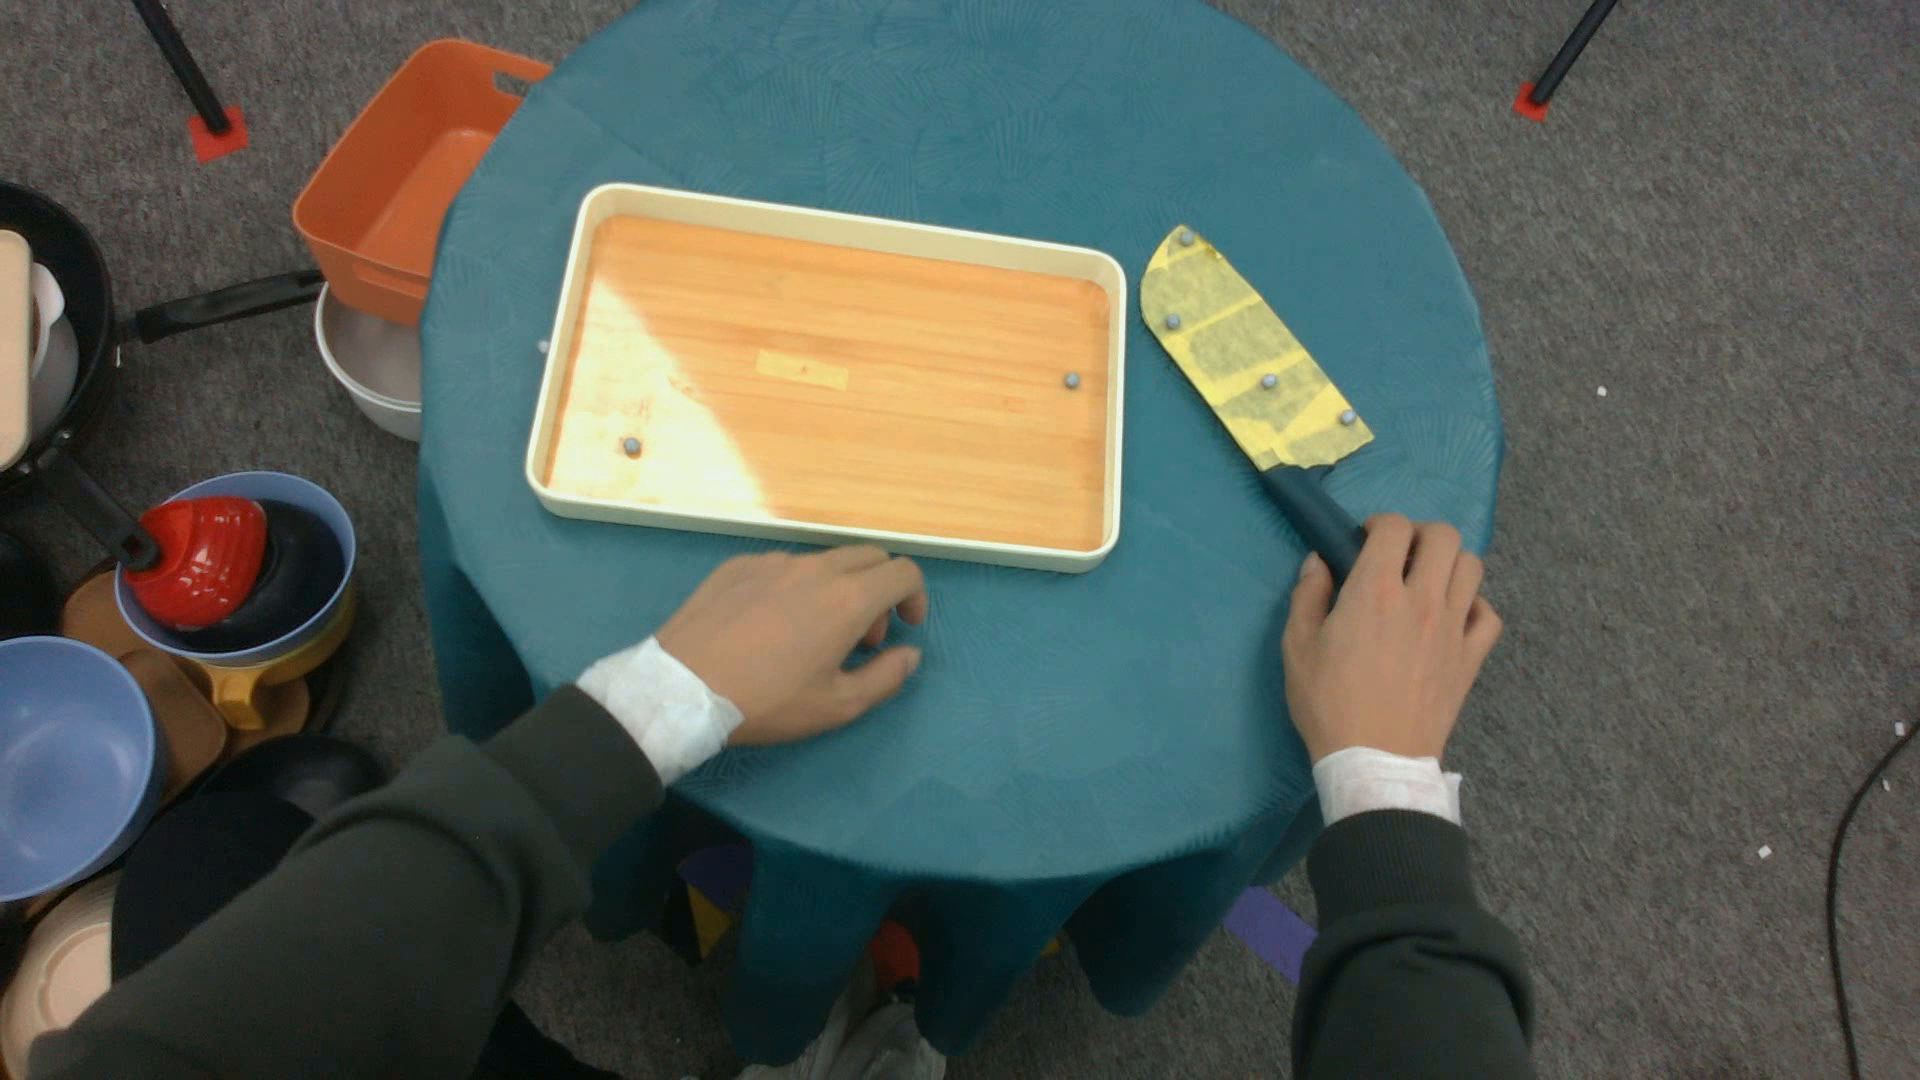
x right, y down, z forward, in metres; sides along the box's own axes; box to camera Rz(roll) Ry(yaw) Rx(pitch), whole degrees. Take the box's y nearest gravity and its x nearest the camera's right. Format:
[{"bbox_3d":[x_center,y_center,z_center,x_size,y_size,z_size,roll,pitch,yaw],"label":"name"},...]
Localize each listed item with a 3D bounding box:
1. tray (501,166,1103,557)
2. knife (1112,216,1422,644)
[{"bbox_3d":[-0.075,-0.096,0.732,0.300,0.027,0.192,6,68,-6],"label":"tray"},{"bbox_3d":[0.174,-0.071,0.768,0.081,0.027,0.290,-26,73,-17],"label":"knife"}]
